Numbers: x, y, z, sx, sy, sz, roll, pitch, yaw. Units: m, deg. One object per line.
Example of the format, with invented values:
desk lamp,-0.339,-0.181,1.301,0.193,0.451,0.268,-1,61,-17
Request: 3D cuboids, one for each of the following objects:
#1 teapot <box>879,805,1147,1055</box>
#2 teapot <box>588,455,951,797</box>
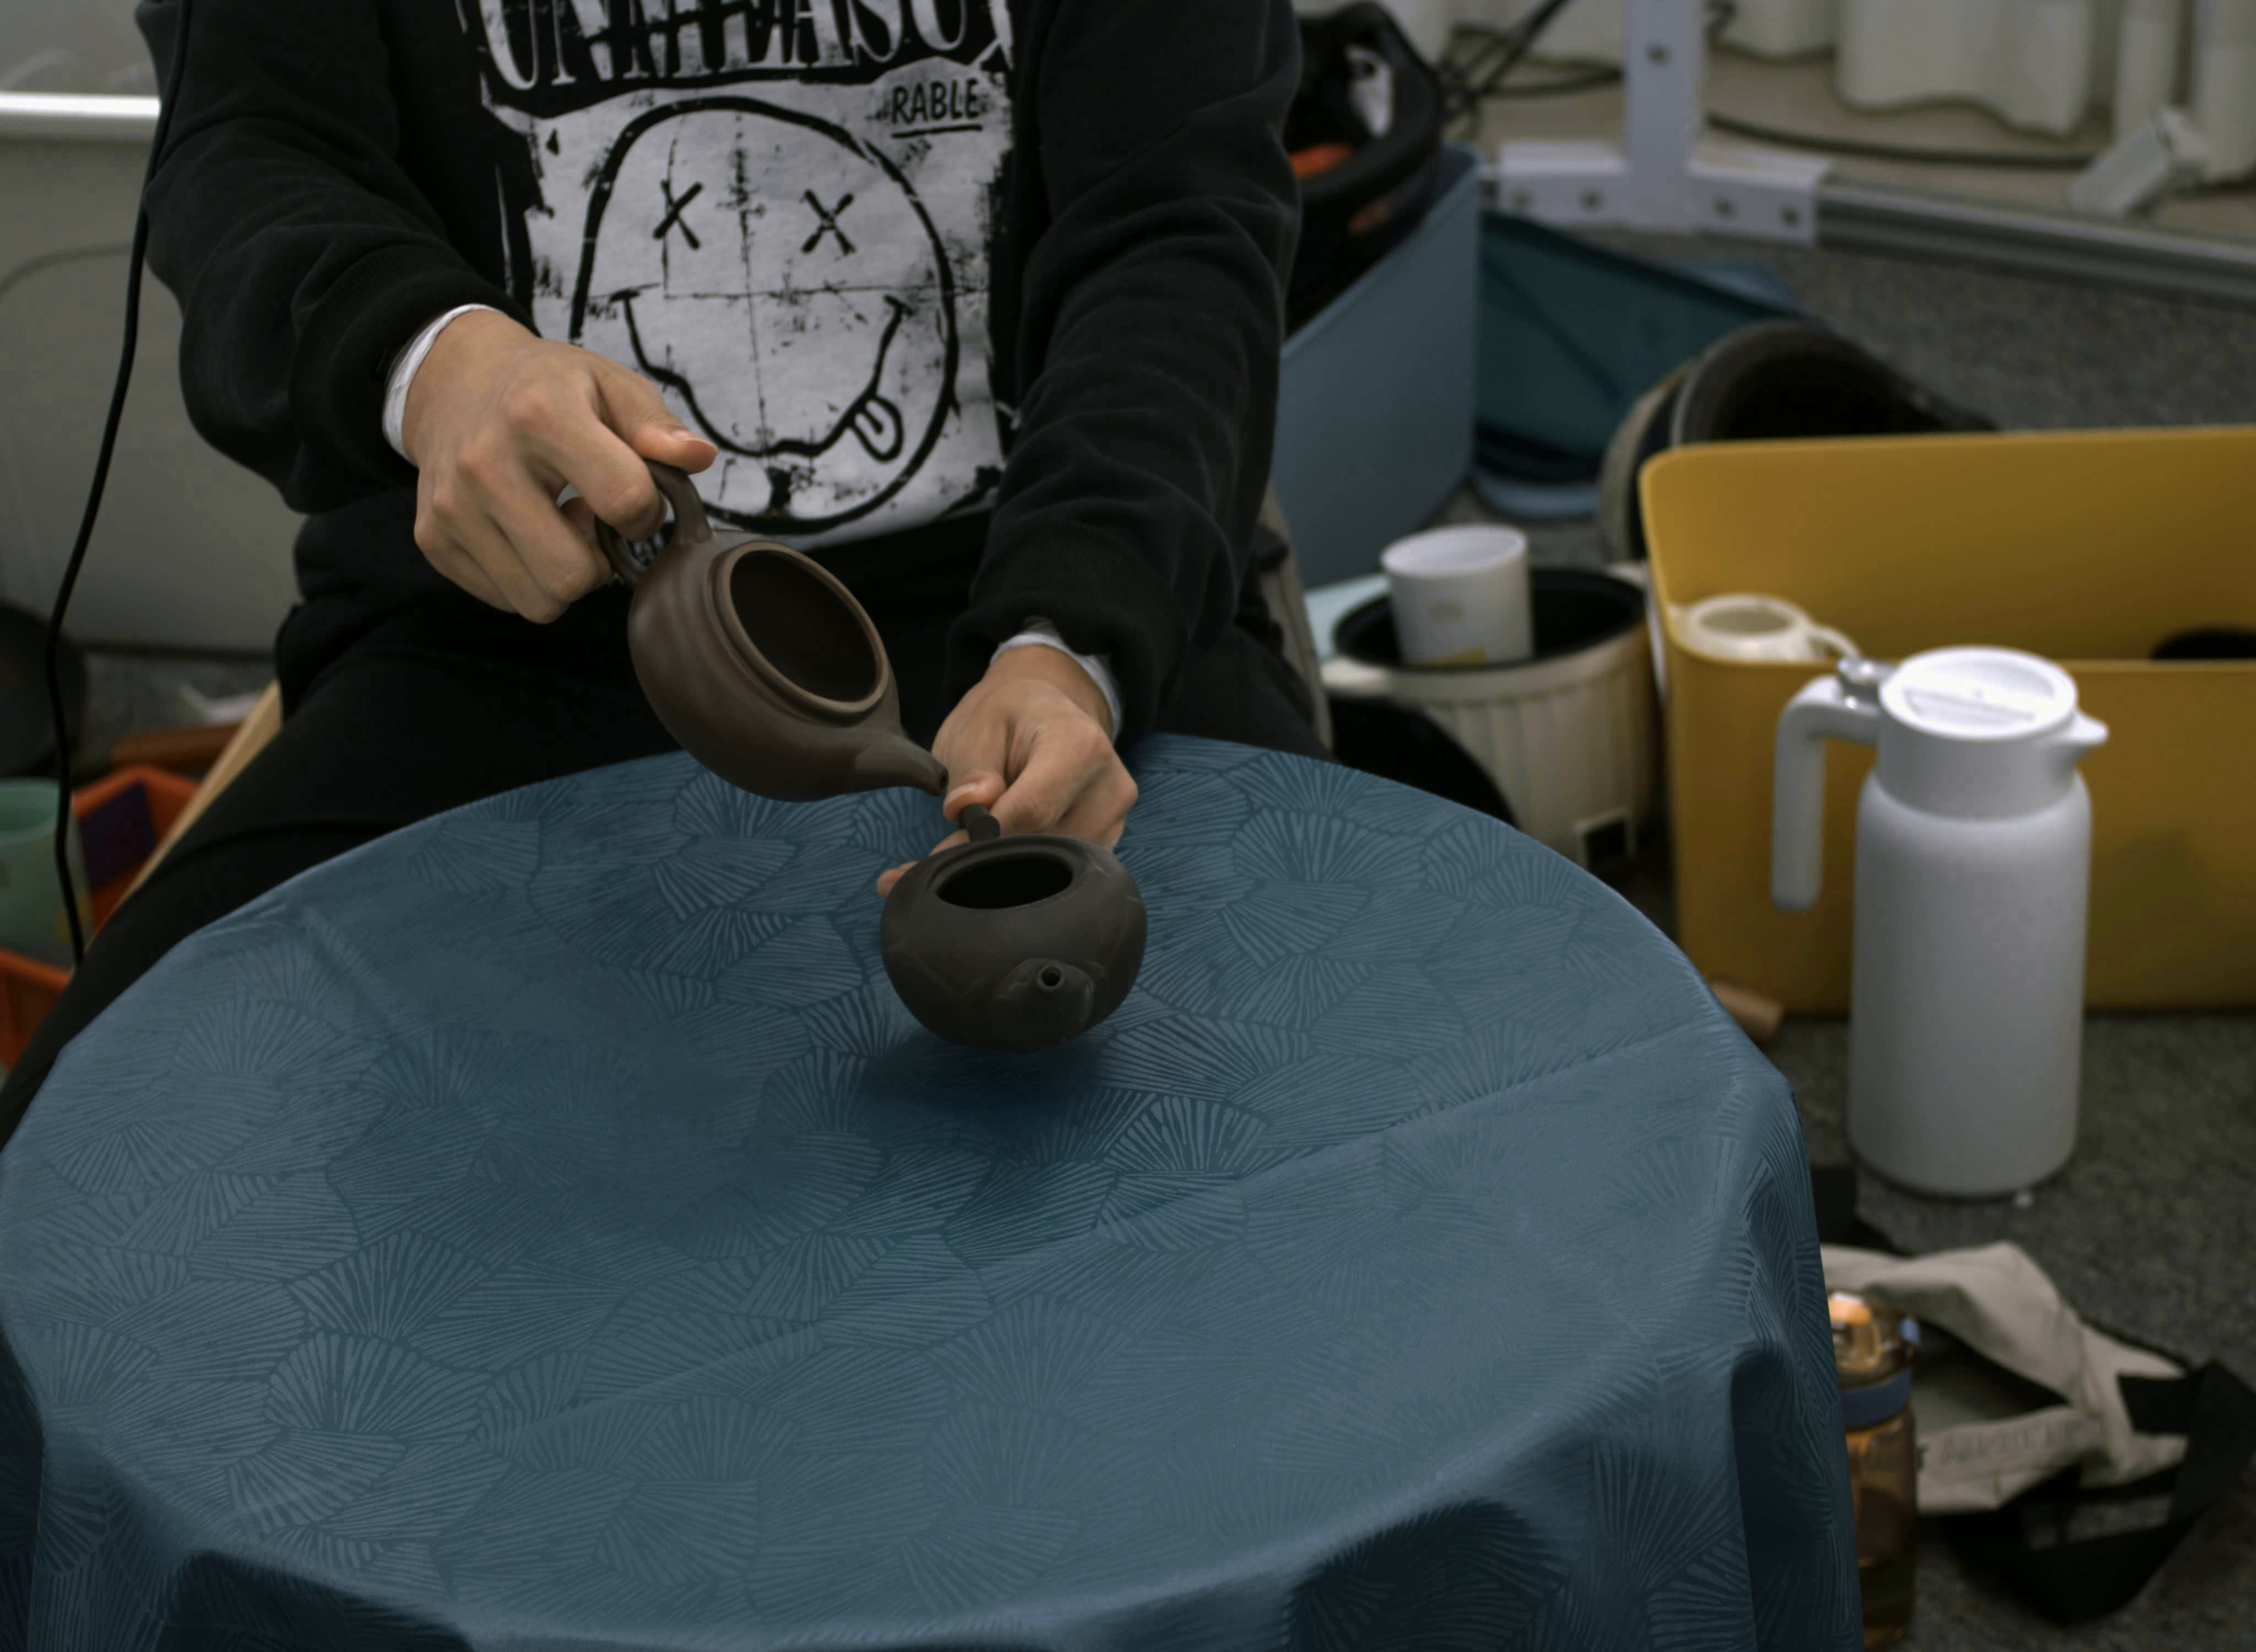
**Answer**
teapot,-0.040,0.039,1.927,0.092,0.064,0.156,-8,25,-8
teapot,-0.124,-0.060,1.884,0.153,0.053,0.104,47,28,-1
